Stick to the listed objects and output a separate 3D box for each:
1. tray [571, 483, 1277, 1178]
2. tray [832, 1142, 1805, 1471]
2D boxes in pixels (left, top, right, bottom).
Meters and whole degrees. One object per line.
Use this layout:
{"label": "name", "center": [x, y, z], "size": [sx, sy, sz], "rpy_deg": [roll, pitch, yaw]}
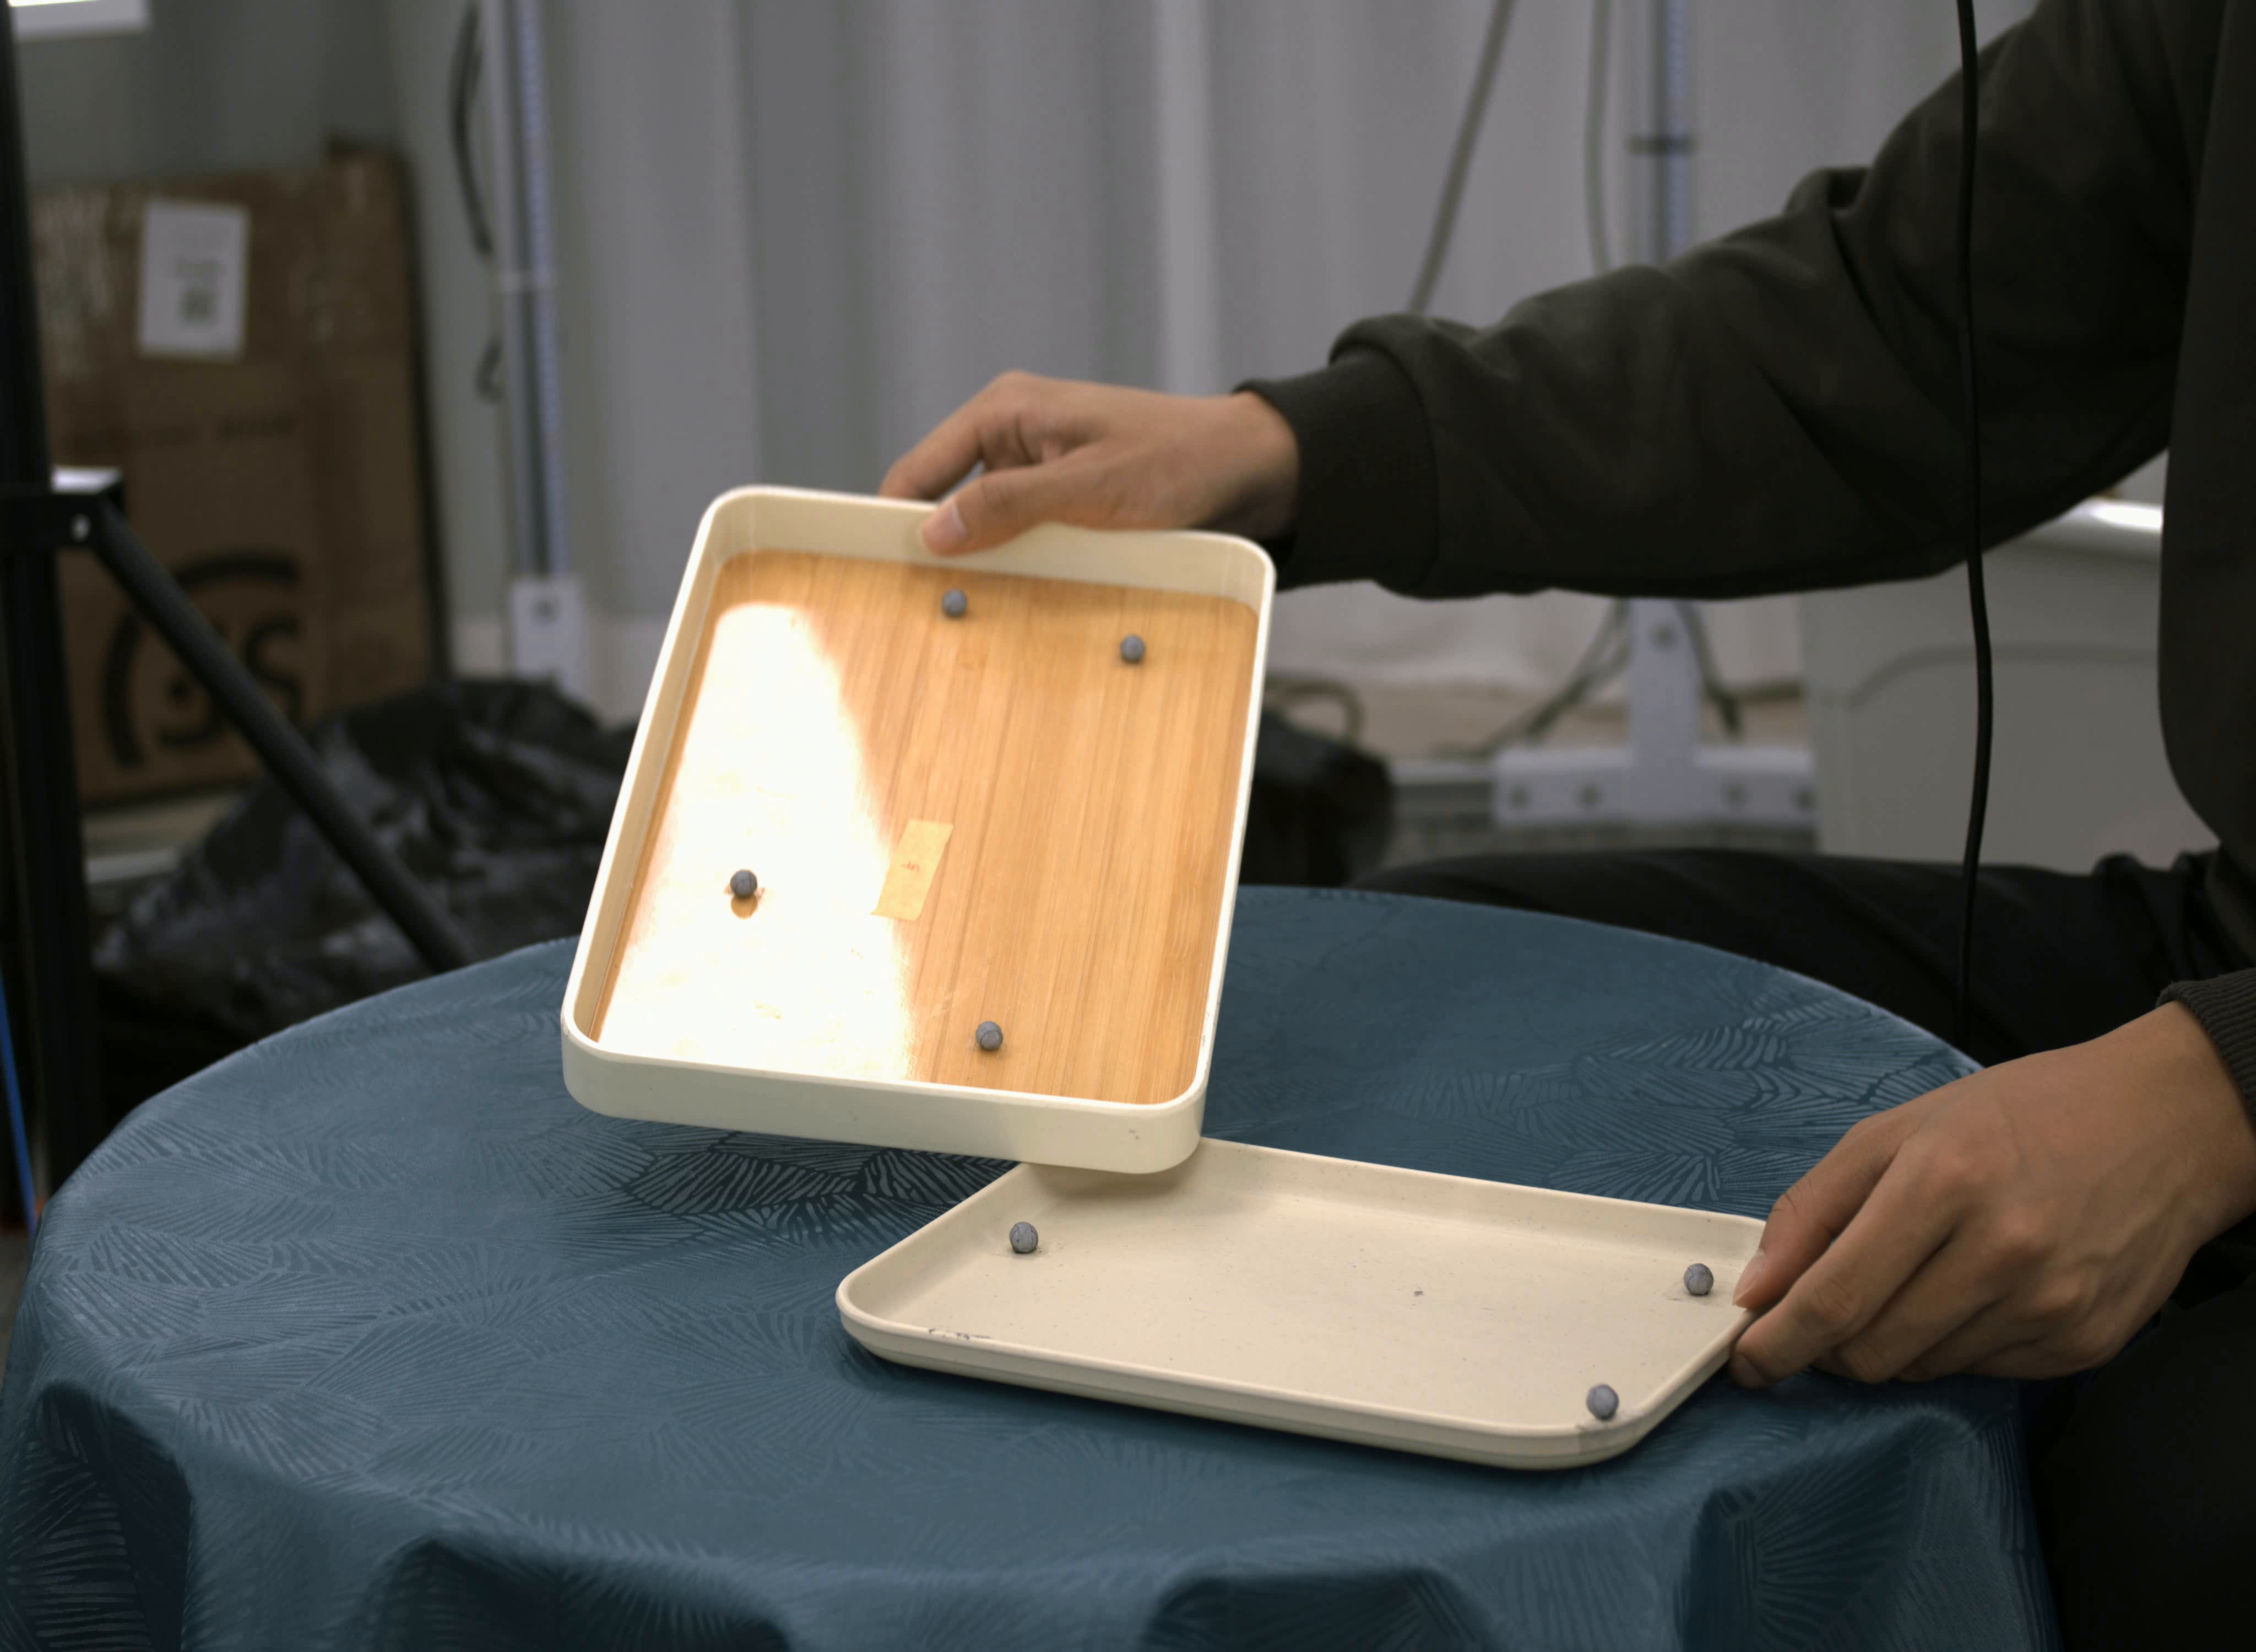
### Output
{"label": "tray", "center": [-0.057, -0.005, 1.653], "size": [0.191, 0.027, 0.302], "rpy_deg": [5, 38, 4]}
{"label": "tray", "center": [0.053, 0.129, 1.447], "size": [0.244, 0.017, 0.168], "rpy_deg": [7, 17, 28]}
